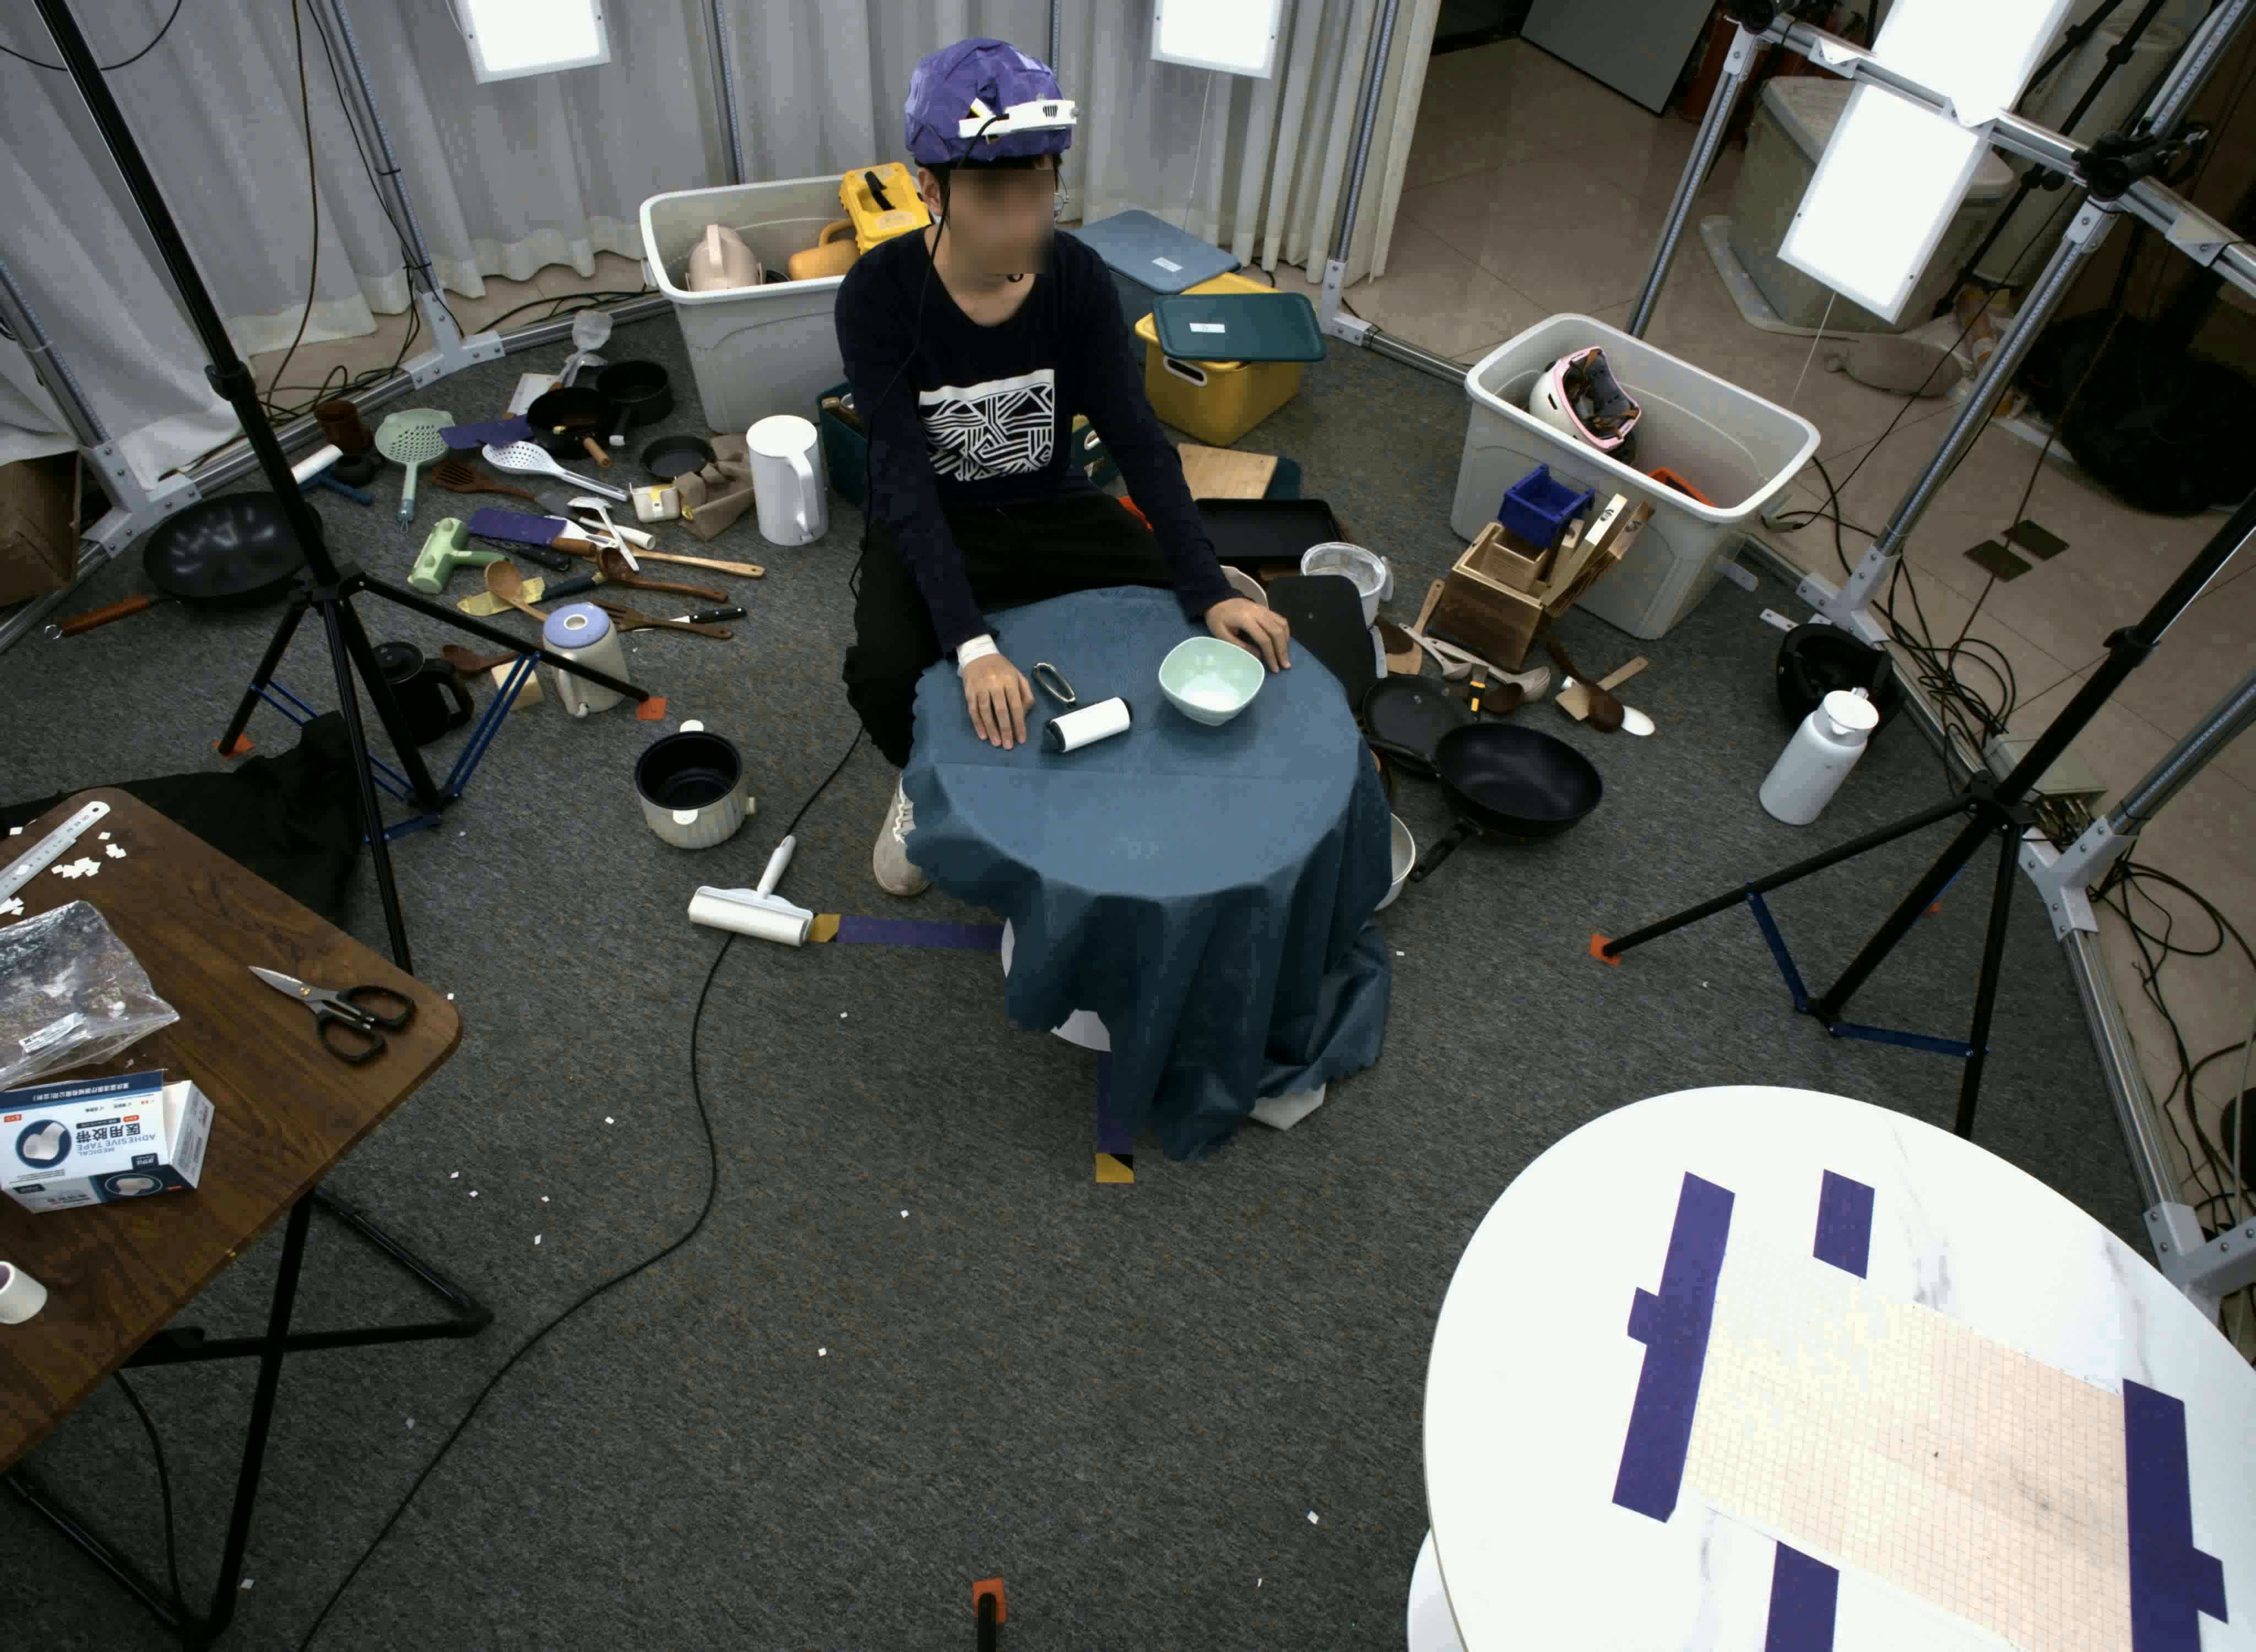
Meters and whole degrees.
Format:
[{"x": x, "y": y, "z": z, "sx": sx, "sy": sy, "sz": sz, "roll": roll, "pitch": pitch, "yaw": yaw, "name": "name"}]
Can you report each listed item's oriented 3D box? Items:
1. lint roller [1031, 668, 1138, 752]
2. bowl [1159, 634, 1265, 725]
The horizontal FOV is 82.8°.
[{"x": -0.086, "y": -0.183, "z": 1.794, "sx": 0.135, "sy": 0.047, "sz": 0.184, "roll": -22, "pitch": 51, "yaw": -21, "name": "lint roller"}, {"x": 0.115, "y": -0.198, "z": 1.810, "sx": 0.151, "sy": 0.057, "sz": 0.155, "roll": 3, "pitch": 51, "yaw": -4, "name": "bowl"}]
